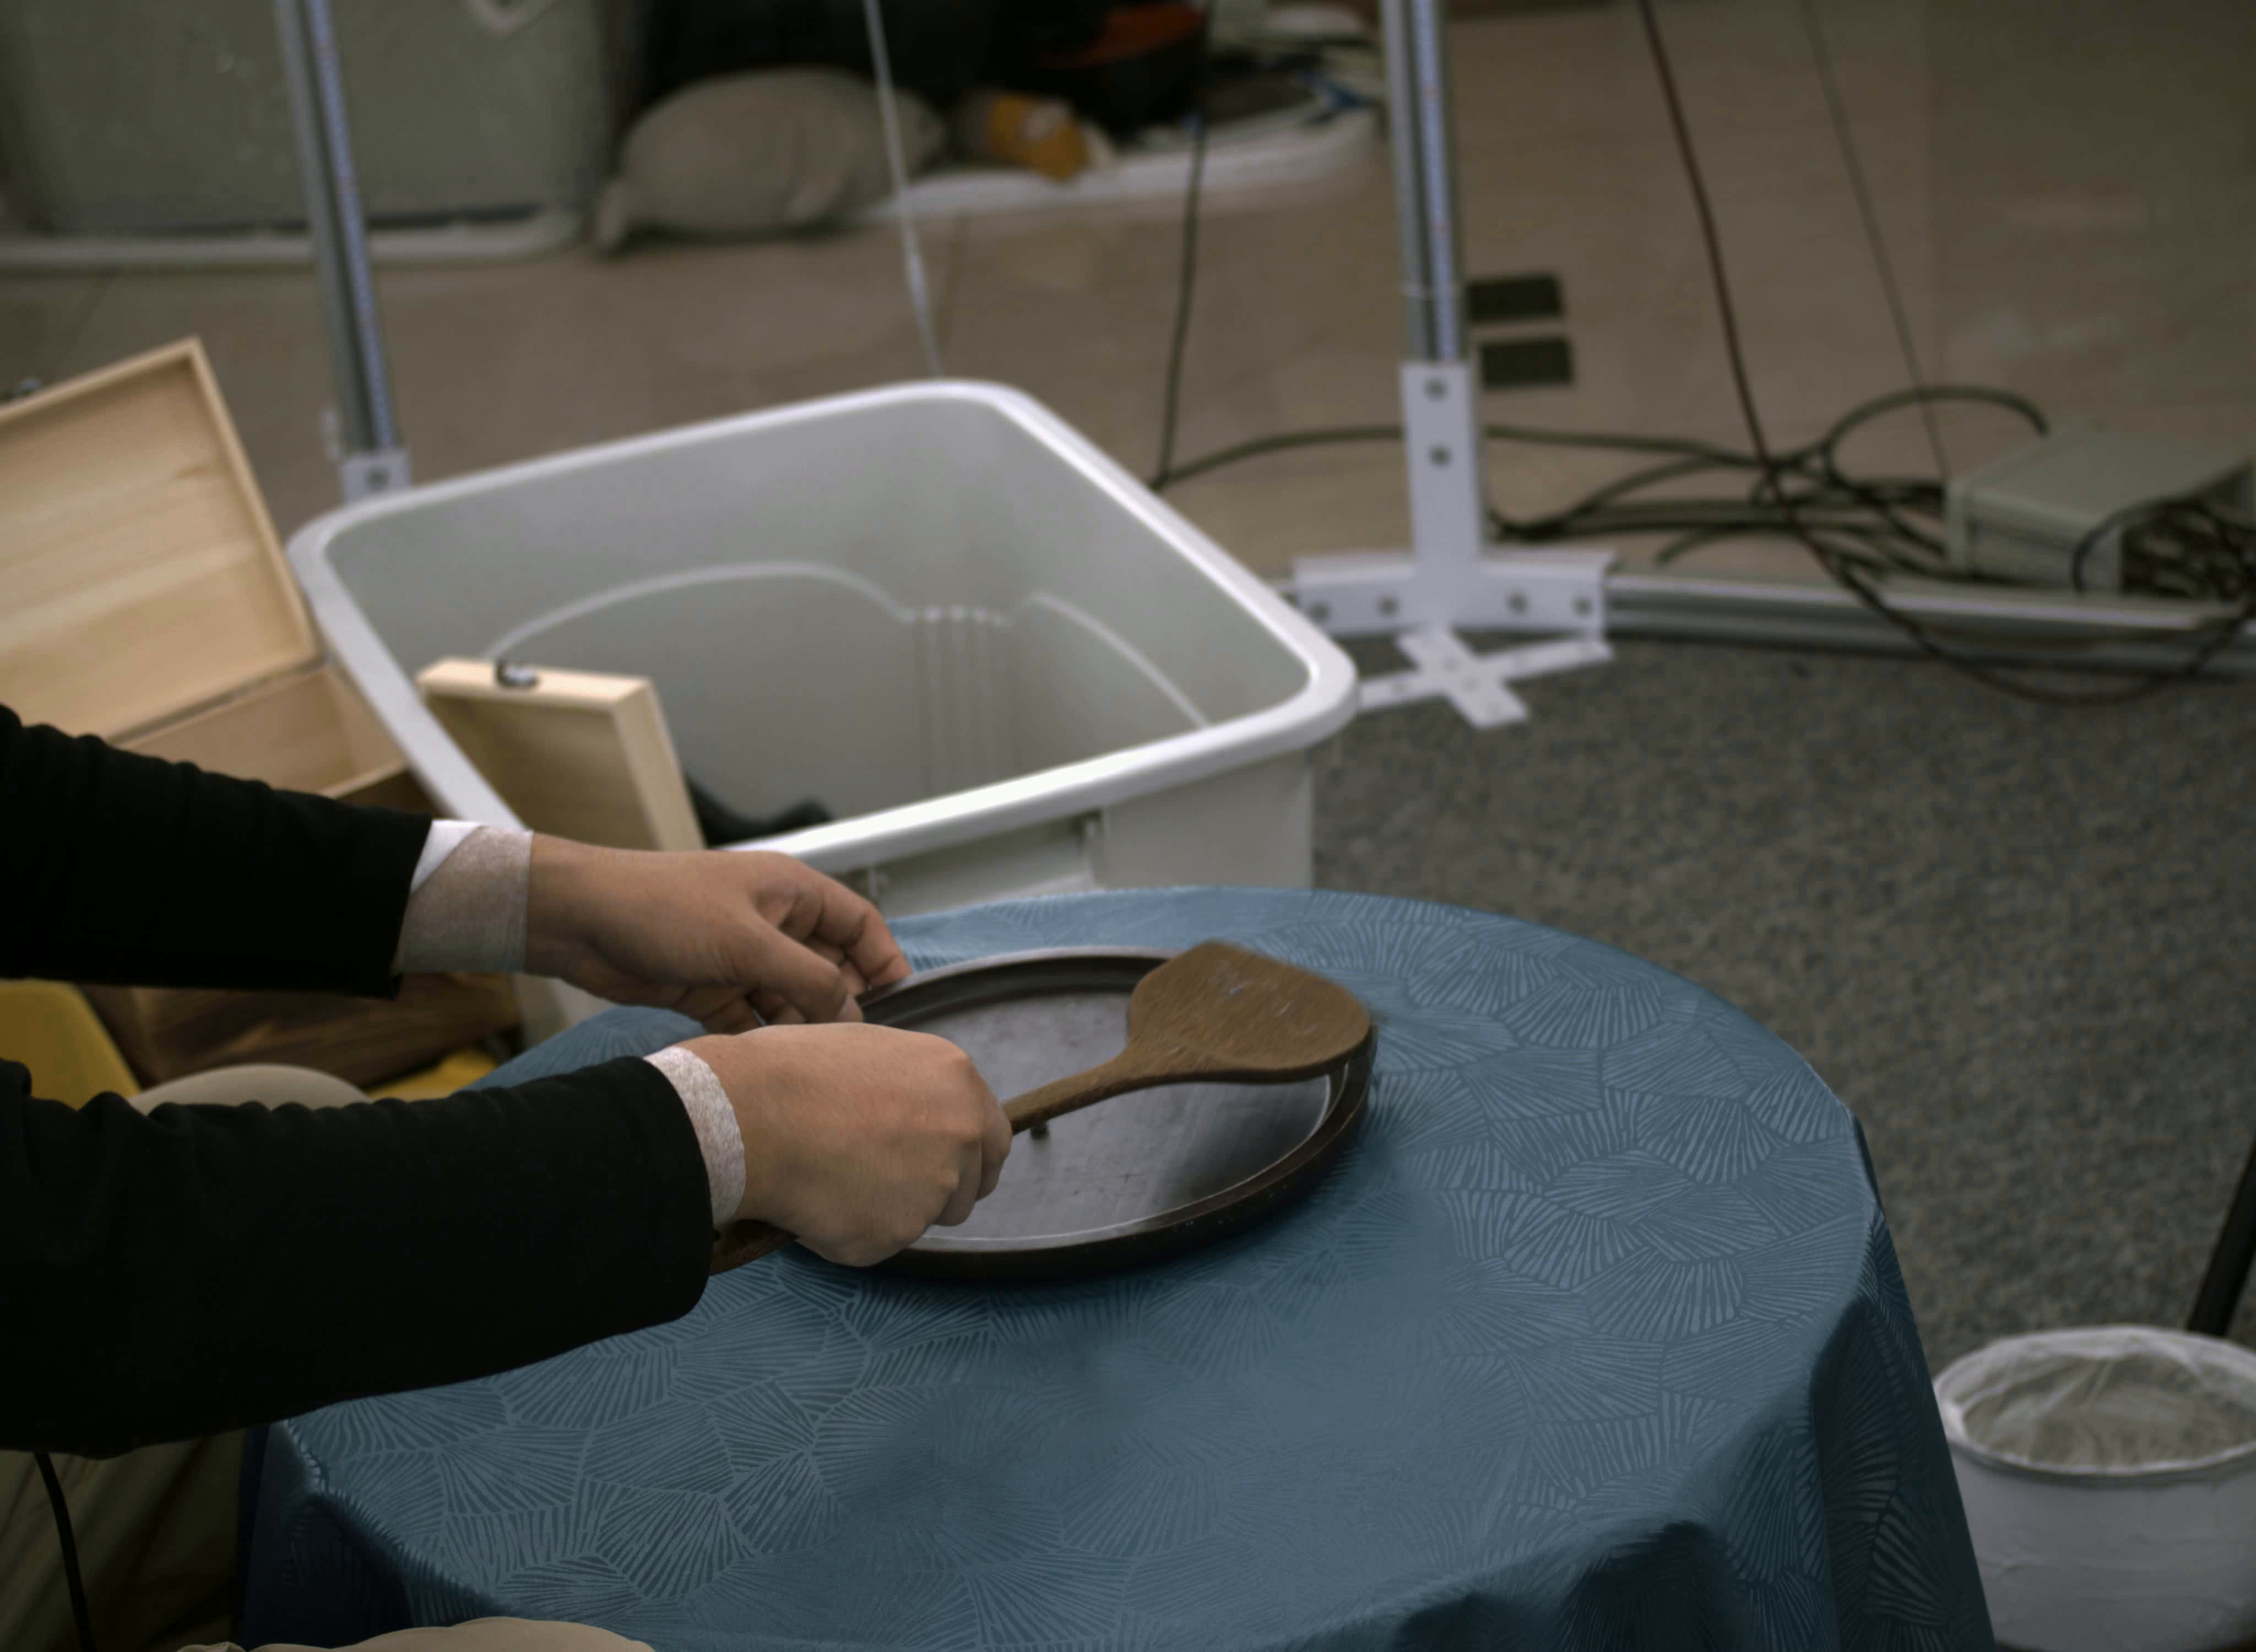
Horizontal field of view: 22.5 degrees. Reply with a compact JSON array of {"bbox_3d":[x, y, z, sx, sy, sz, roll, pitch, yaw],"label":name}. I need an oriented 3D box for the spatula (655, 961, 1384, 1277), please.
[{"bbox_3d":[-0.042,0.106,2.056,0.095,0.016,0.383,21,23,31],"label":"spatula"}]

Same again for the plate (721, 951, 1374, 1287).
[{"bbox_3d":[-0.030,0.111,2.187,0.254,0.029,0.251,-5,26,3],"label":"plate"}]
